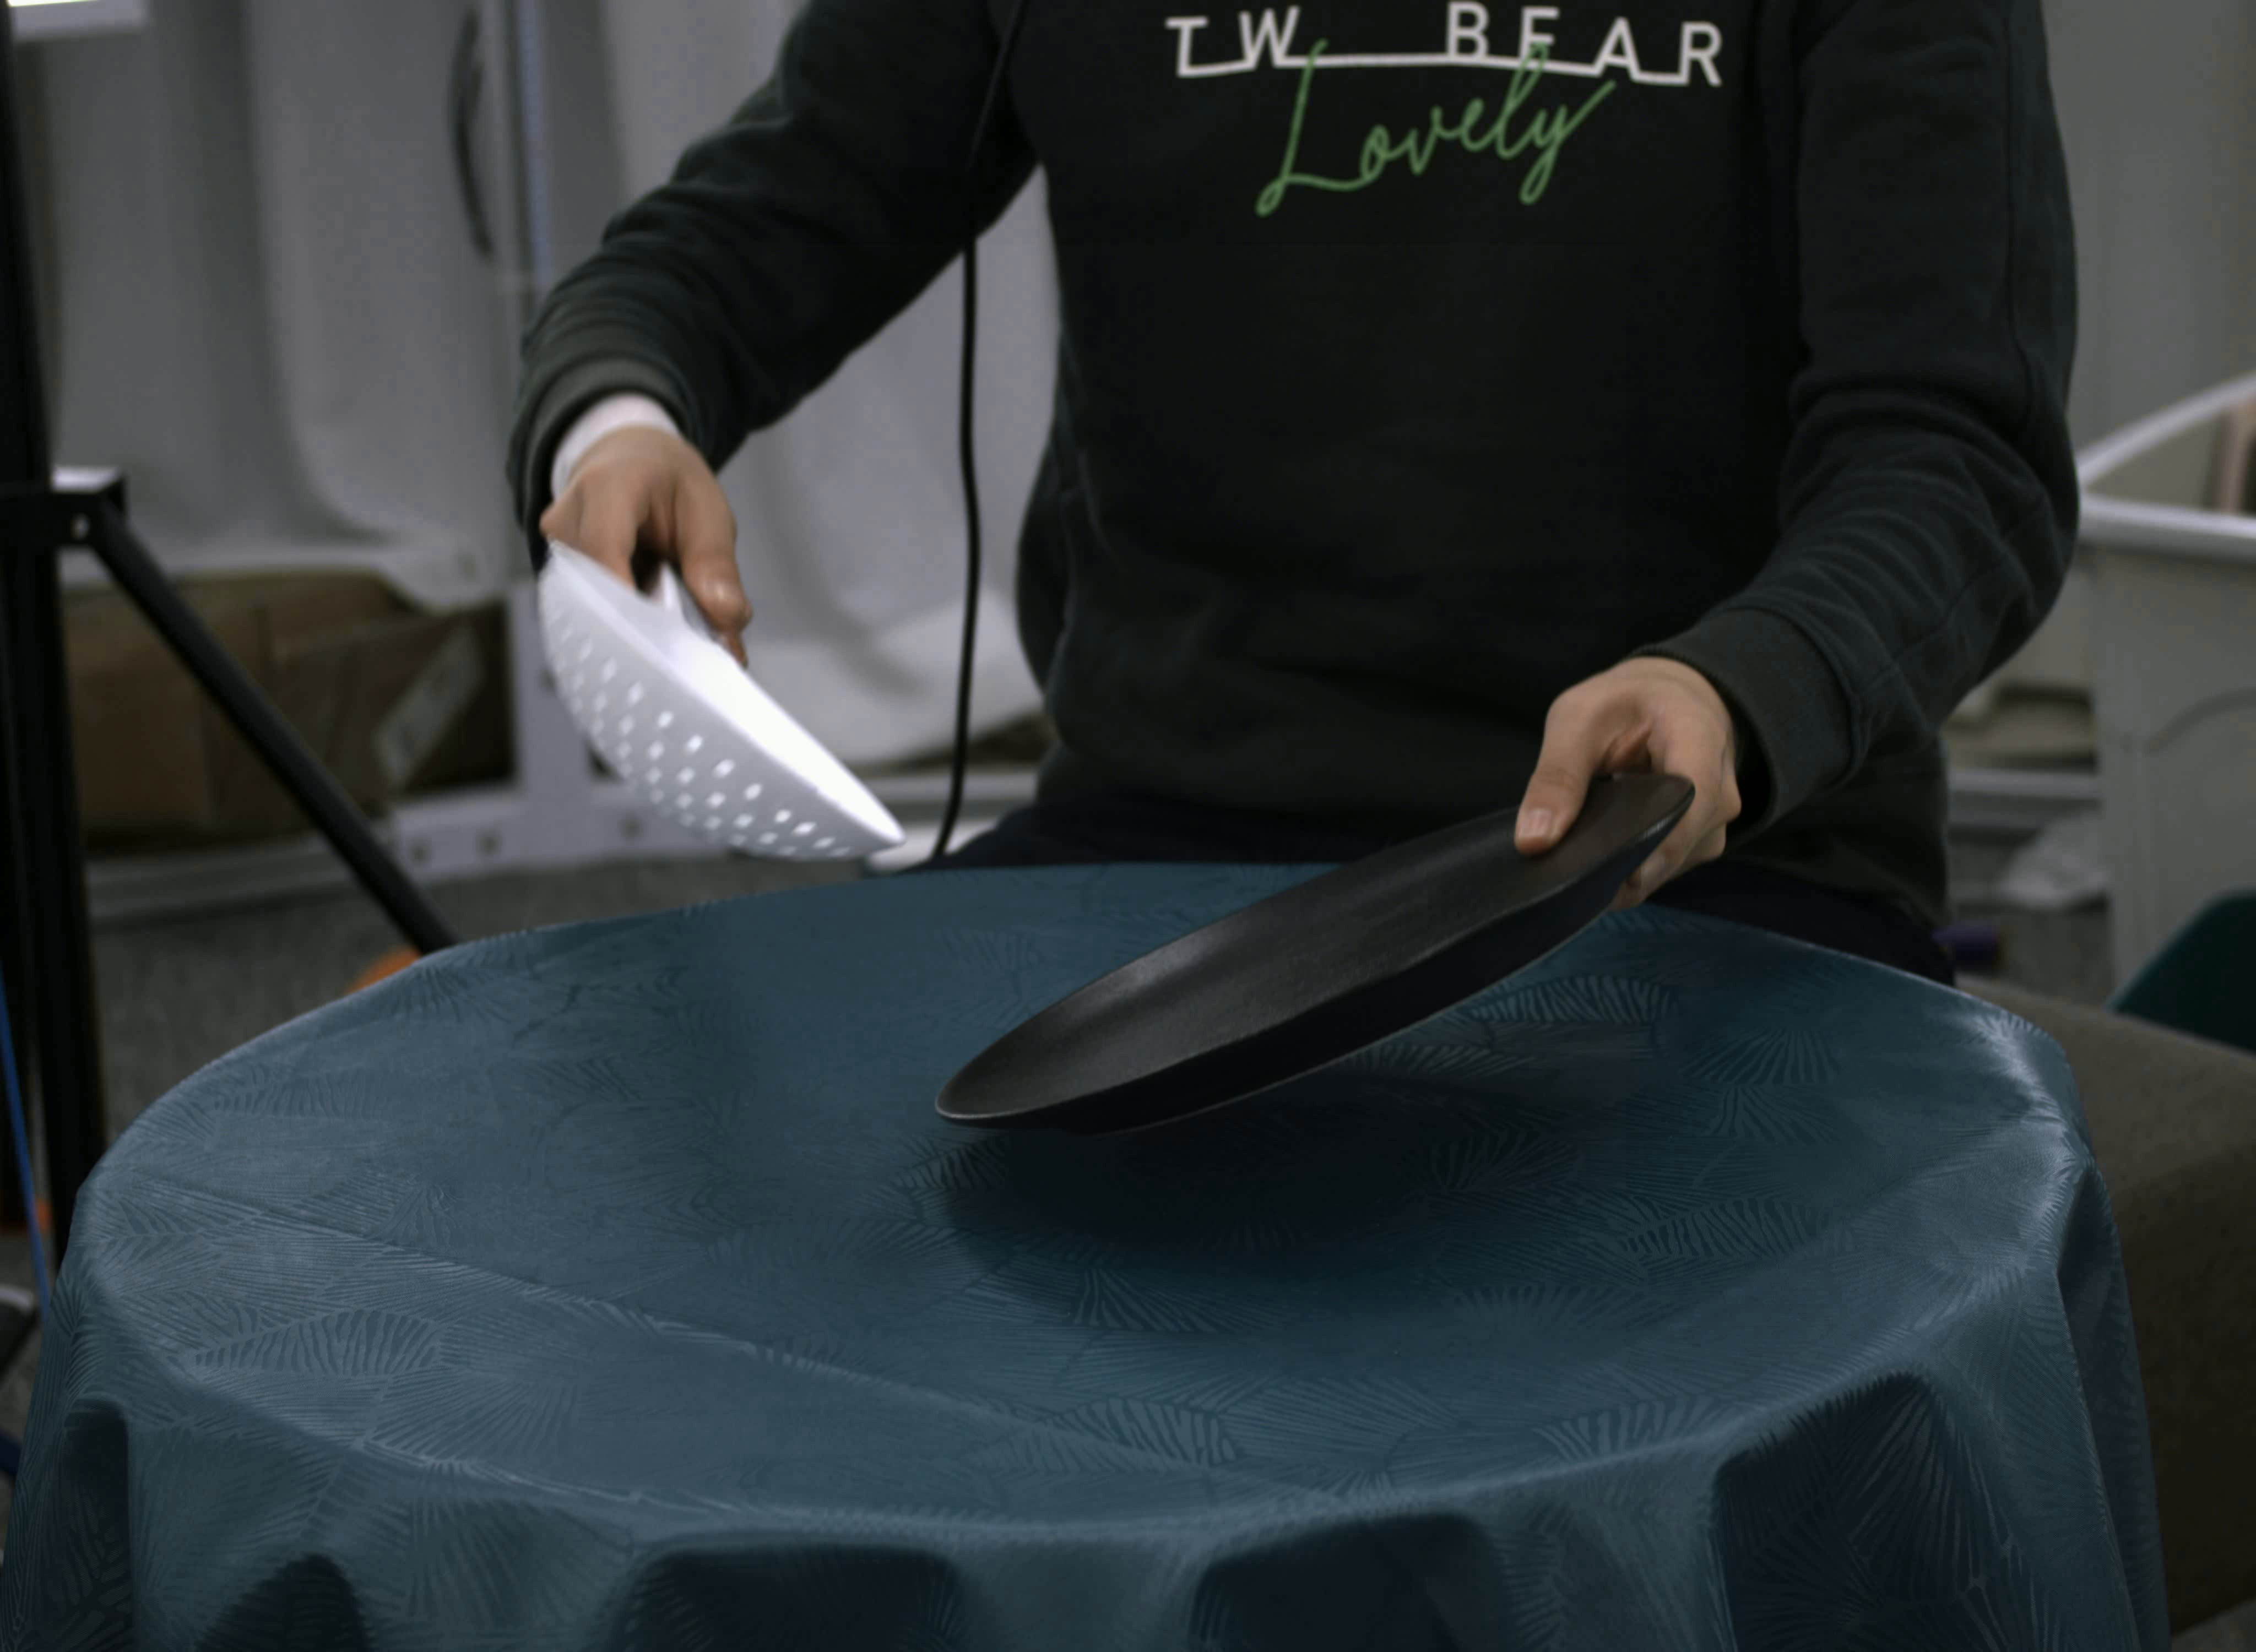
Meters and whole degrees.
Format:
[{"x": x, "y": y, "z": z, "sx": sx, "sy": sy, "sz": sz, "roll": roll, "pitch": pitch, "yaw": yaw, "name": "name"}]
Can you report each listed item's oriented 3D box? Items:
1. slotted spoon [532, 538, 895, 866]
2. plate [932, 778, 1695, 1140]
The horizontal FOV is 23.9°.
[{"x": -0.134, "y": -0.050, "z": 1.649, "sx": 0.135, "sy": 0.046, "sz": 0.351, "roll": 40, "pitch": 8, "yaw": -10, "name": "slotted spoon"}, {"x": 0.057, "y": 0.045, "z": 1.564, "sx": 0.244, "sy": 0.023, "sz": 0.245, "roll": -23, "pitch": 6, "yaw": 1, "name": "plate"}]
